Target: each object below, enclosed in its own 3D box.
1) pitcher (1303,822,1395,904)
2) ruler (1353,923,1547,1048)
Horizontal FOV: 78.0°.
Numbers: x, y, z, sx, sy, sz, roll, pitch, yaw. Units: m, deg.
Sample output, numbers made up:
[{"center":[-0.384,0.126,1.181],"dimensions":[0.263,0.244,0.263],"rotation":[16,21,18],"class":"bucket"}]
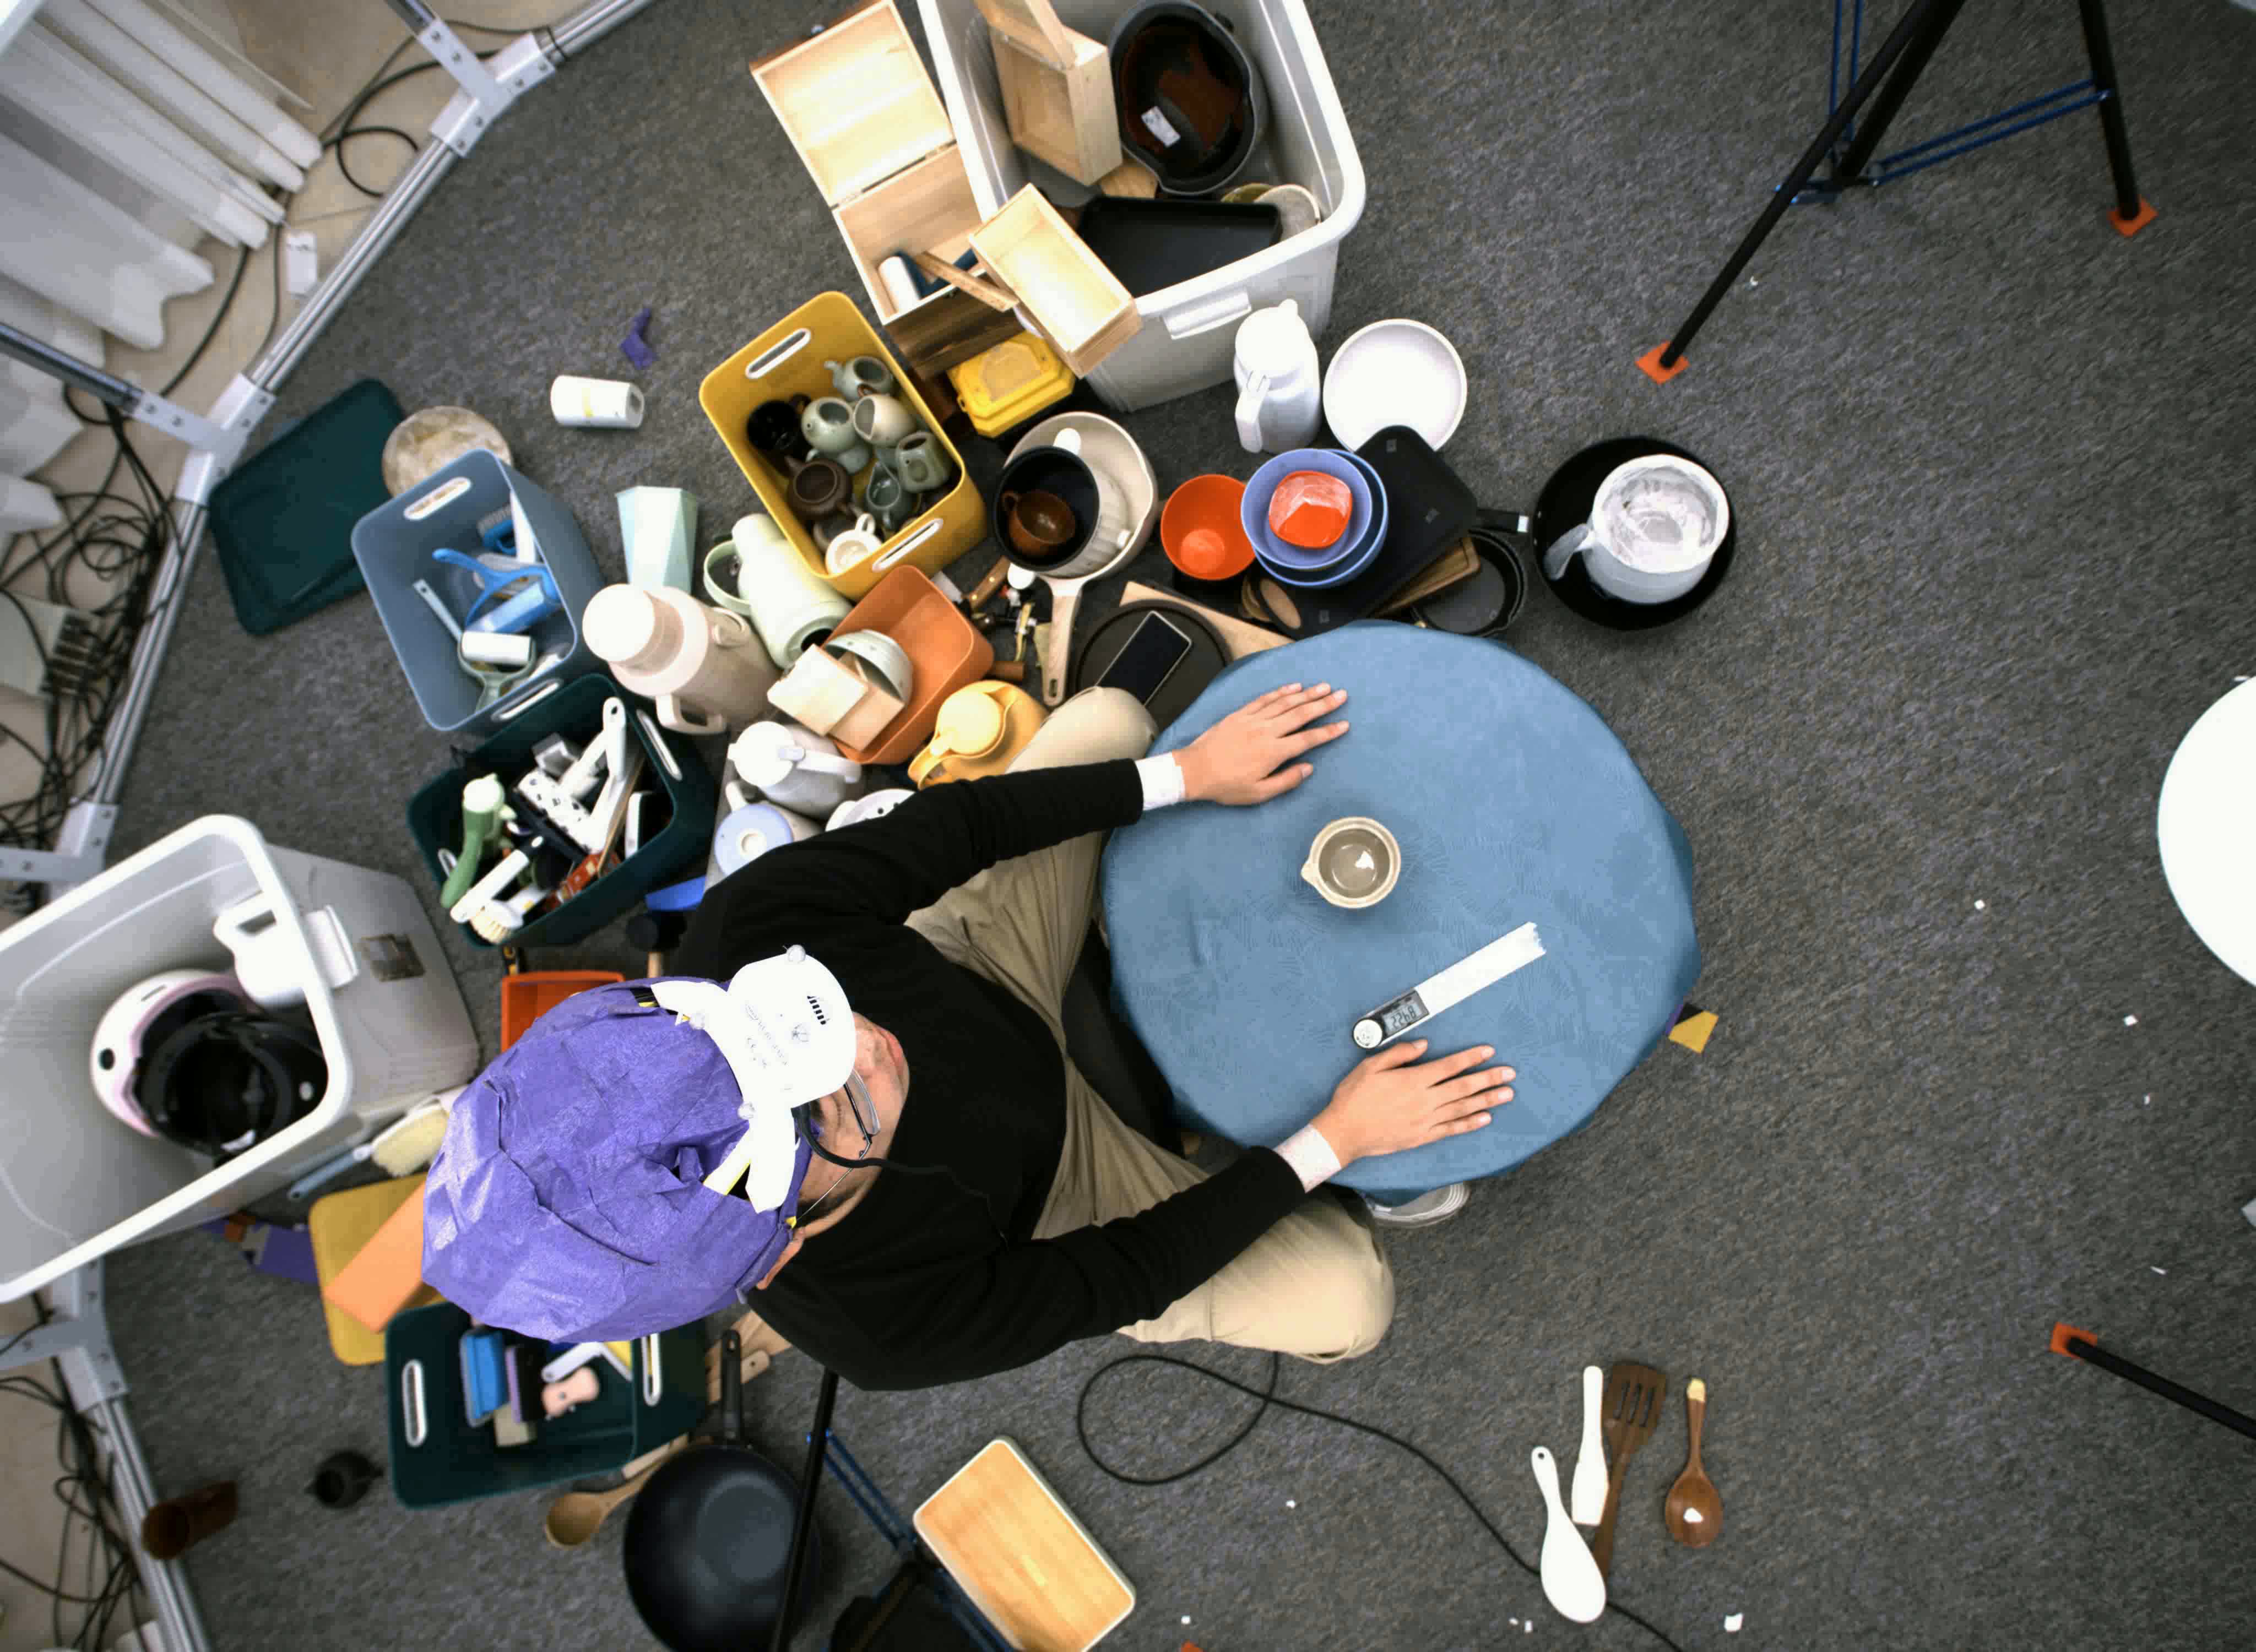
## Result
[{"center":[0.229,0.040,1.432],"dimensions":[0.096,0.071,0.083],"rotation":[-13,84,8],"class":"pitcher"},{"center":[0.331,0.167,1.432],"dimensions":[0.219,0.024,0.038],"rotation":[-31,88,9],"class":"ruler"}]
